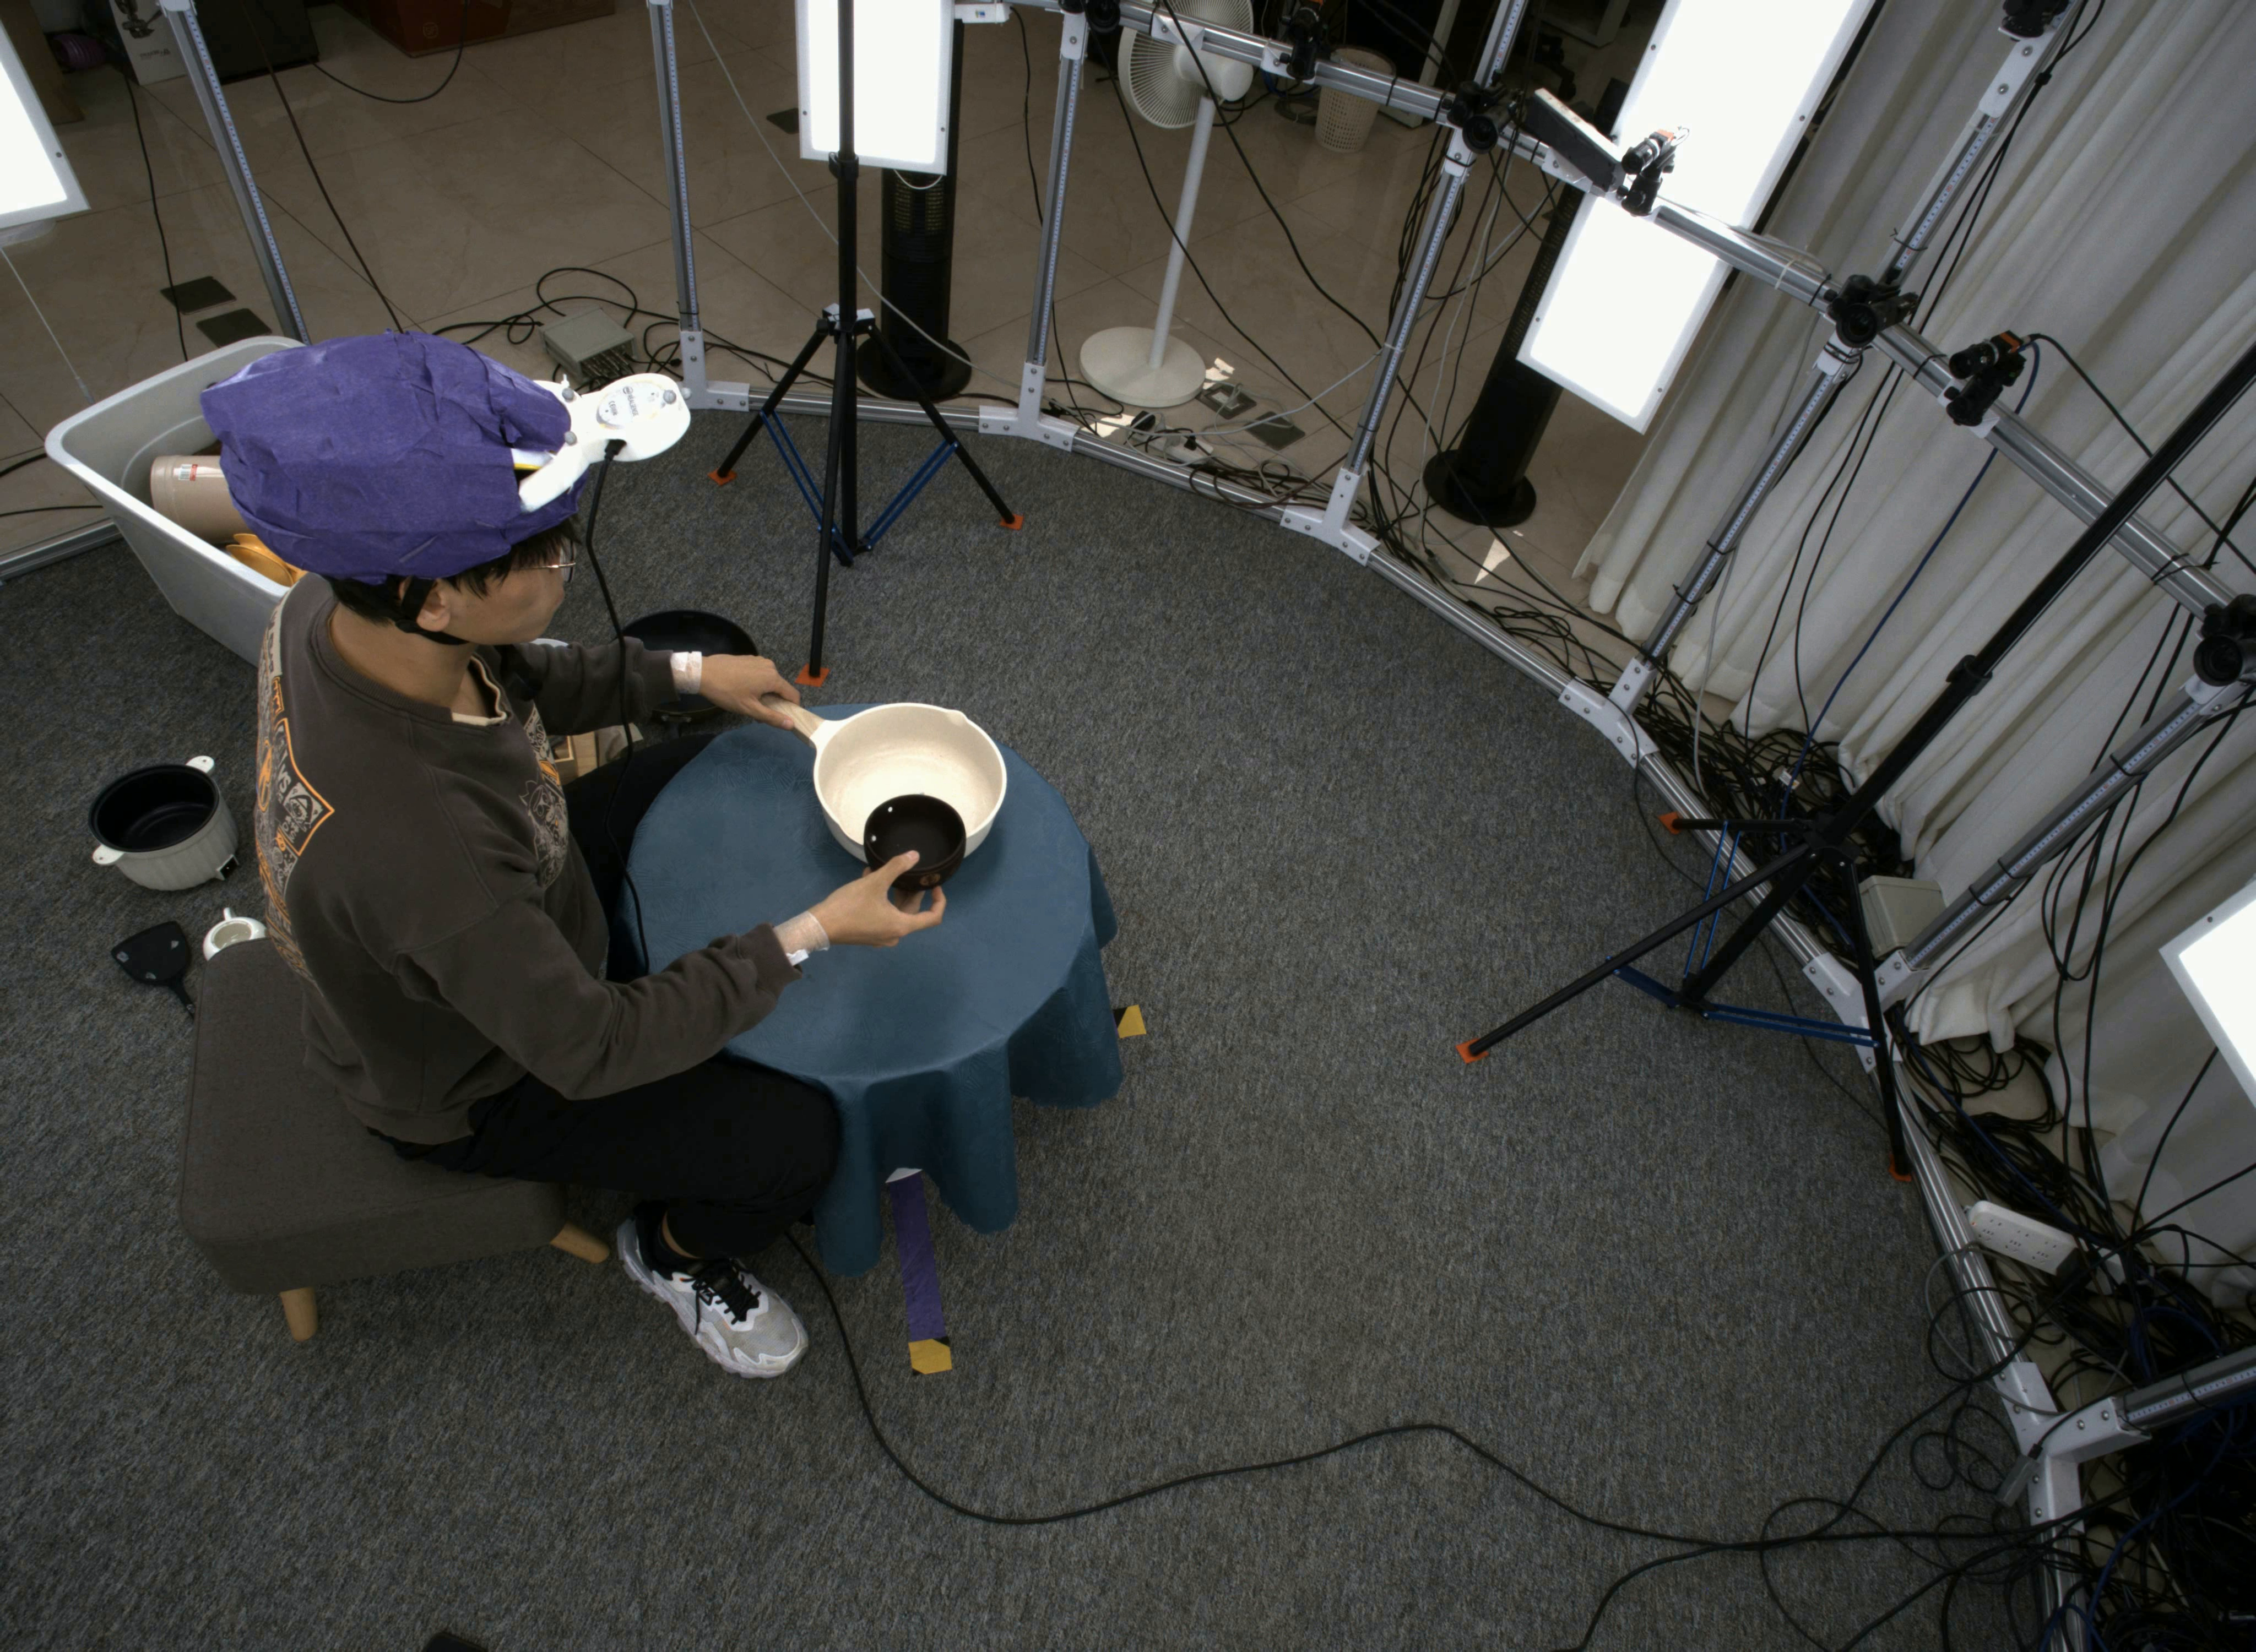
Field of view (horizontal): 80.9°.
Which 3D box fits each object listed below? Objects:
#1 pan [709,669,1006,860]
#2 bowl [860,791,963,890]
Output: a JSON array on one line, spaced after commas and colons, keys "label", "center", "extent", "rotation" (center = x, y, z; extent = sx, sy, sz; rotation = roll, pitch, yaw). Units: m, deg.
[{"label": "pan", "center": [-0.372, -0.091, 1.755], "extent": [0.428, 0.104, 0.262], "rotation": [25, 54, 6]}, {"label": "bowl", "center": [-0.252, 0.024, 1.523], "extent": [0.117, 0.071, 0.116], "rotation": [5, 53, -5]}]
